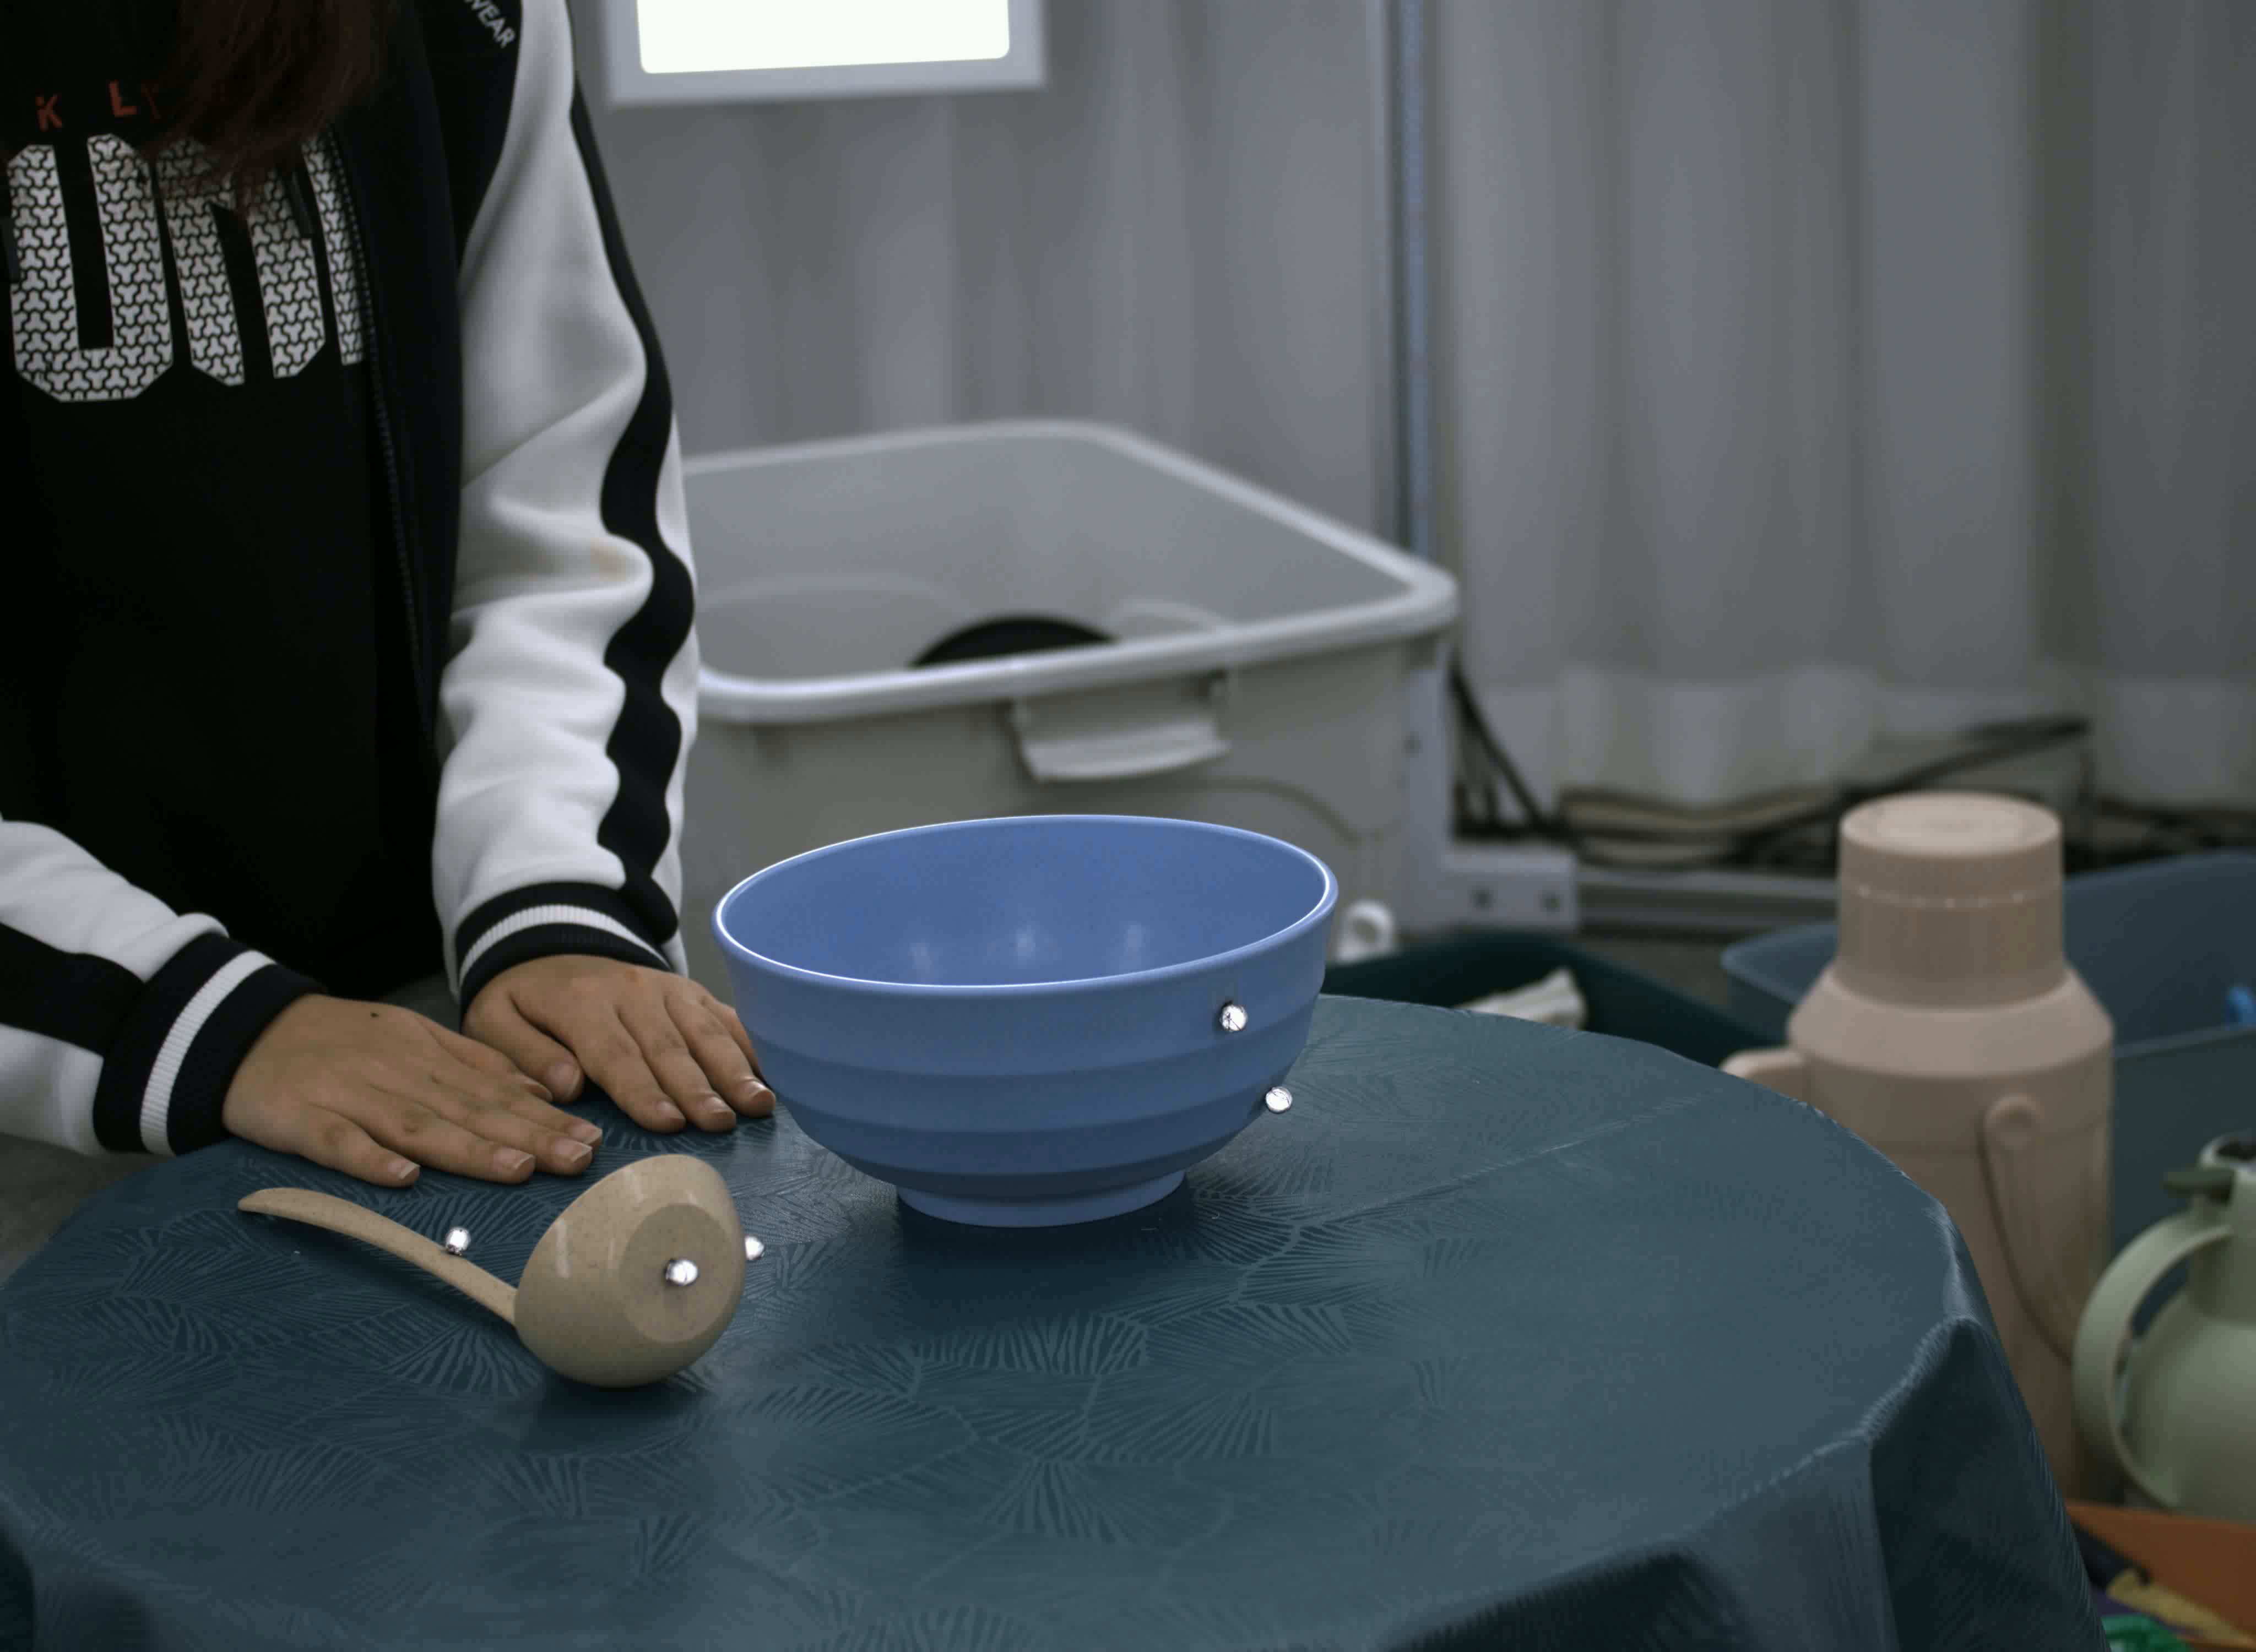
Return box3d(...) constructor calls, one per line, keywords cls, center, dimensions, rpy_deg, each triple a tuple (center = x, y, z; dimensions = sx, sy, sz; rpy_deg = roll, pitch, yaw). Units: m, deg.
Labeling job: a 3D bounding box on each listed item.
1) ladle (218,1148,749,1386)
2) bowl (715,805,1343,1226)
box3d(cls="ladle", center=(-0.205, 0.109, 1.636), dimensions=(0.072, 0.072, 0.256), rpy_deg=(-13, 18, -38))
box3d(cls="bowl", center=(-0.031, 0.066, 1.718), dimensions=(0.196, 0.095, 0.198), rpy_deg=(-1, 16, 0))
